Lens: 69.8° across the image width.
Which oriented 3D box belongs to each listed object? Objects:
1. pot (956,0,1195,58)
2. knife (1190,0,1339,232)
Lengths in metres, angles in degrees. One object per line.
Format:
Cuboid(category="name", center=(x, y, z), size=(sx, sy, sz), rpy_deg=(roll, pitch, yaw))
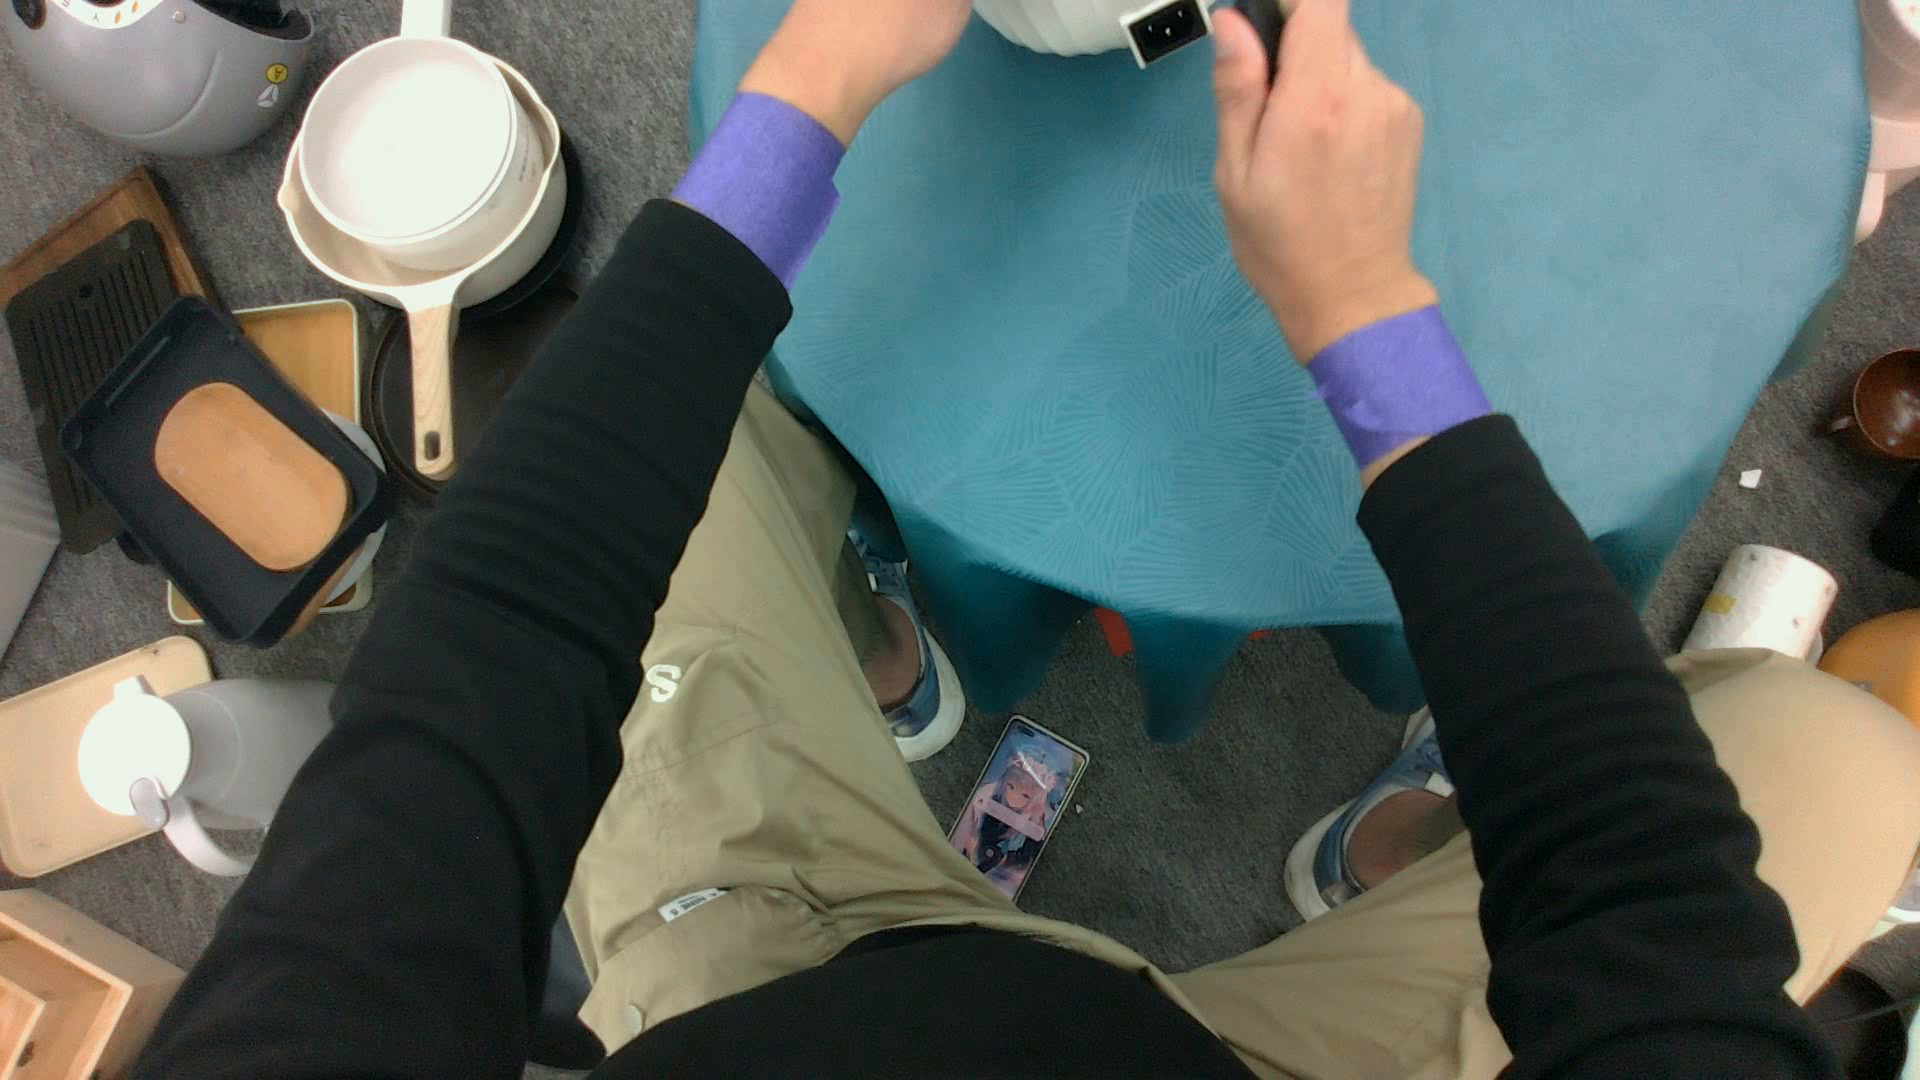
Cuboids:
Cuboid(category="pot", center=(0.052, -0.336, 0.651), size=(0.240, 0.142, 0.191), rpy_deg=(-22, 54, 15))
Cuboid(category="knife", center=(0.092, -0.235, 0.526), size=(0.021, 0.301, 0.081), rpy_deg=(3, 54, 38))
